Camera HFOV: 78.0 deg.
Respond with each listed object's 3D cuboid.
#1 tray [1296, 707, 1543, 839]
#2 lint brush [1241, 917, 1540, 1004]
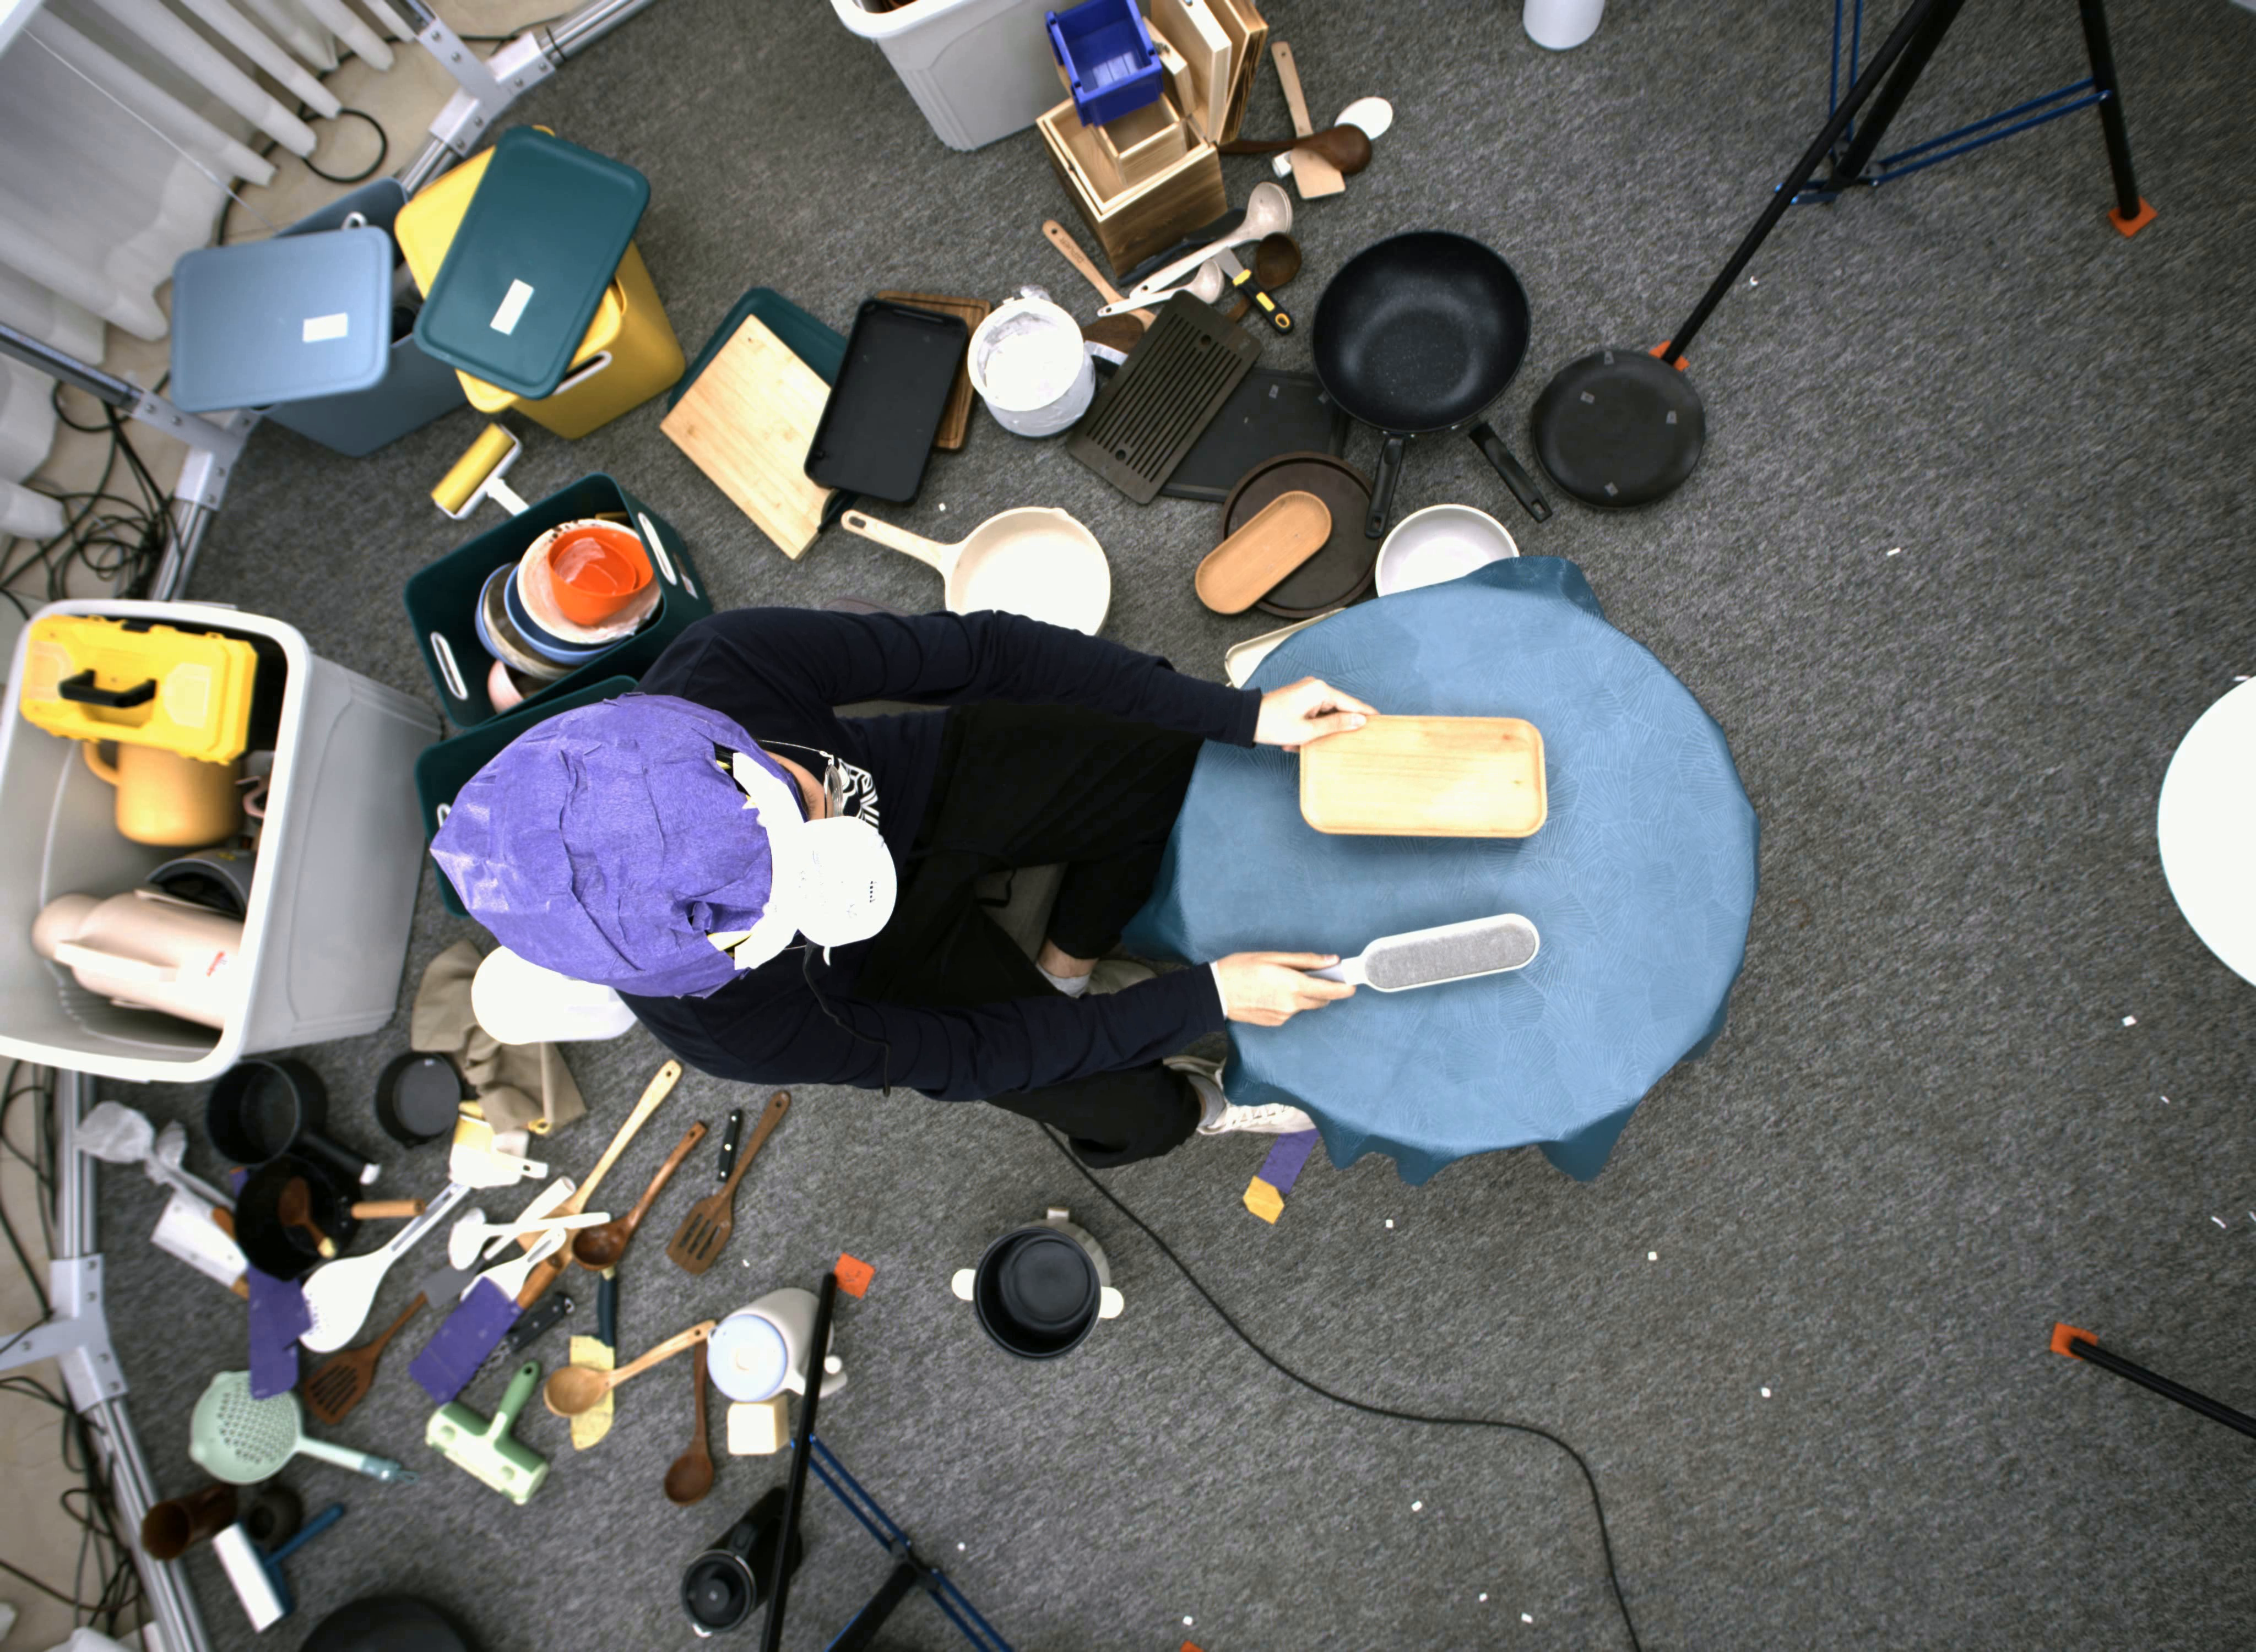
[{"bbox_3d":[0.296,-0.055,1.400,0.251,0.023,0.128,4,74,3],"label":"tray"},{"bbox_3d":[0.264,0.141,1.410,0.311,0.020,0.061,-13,112,16],"label":"lint brush"}]
